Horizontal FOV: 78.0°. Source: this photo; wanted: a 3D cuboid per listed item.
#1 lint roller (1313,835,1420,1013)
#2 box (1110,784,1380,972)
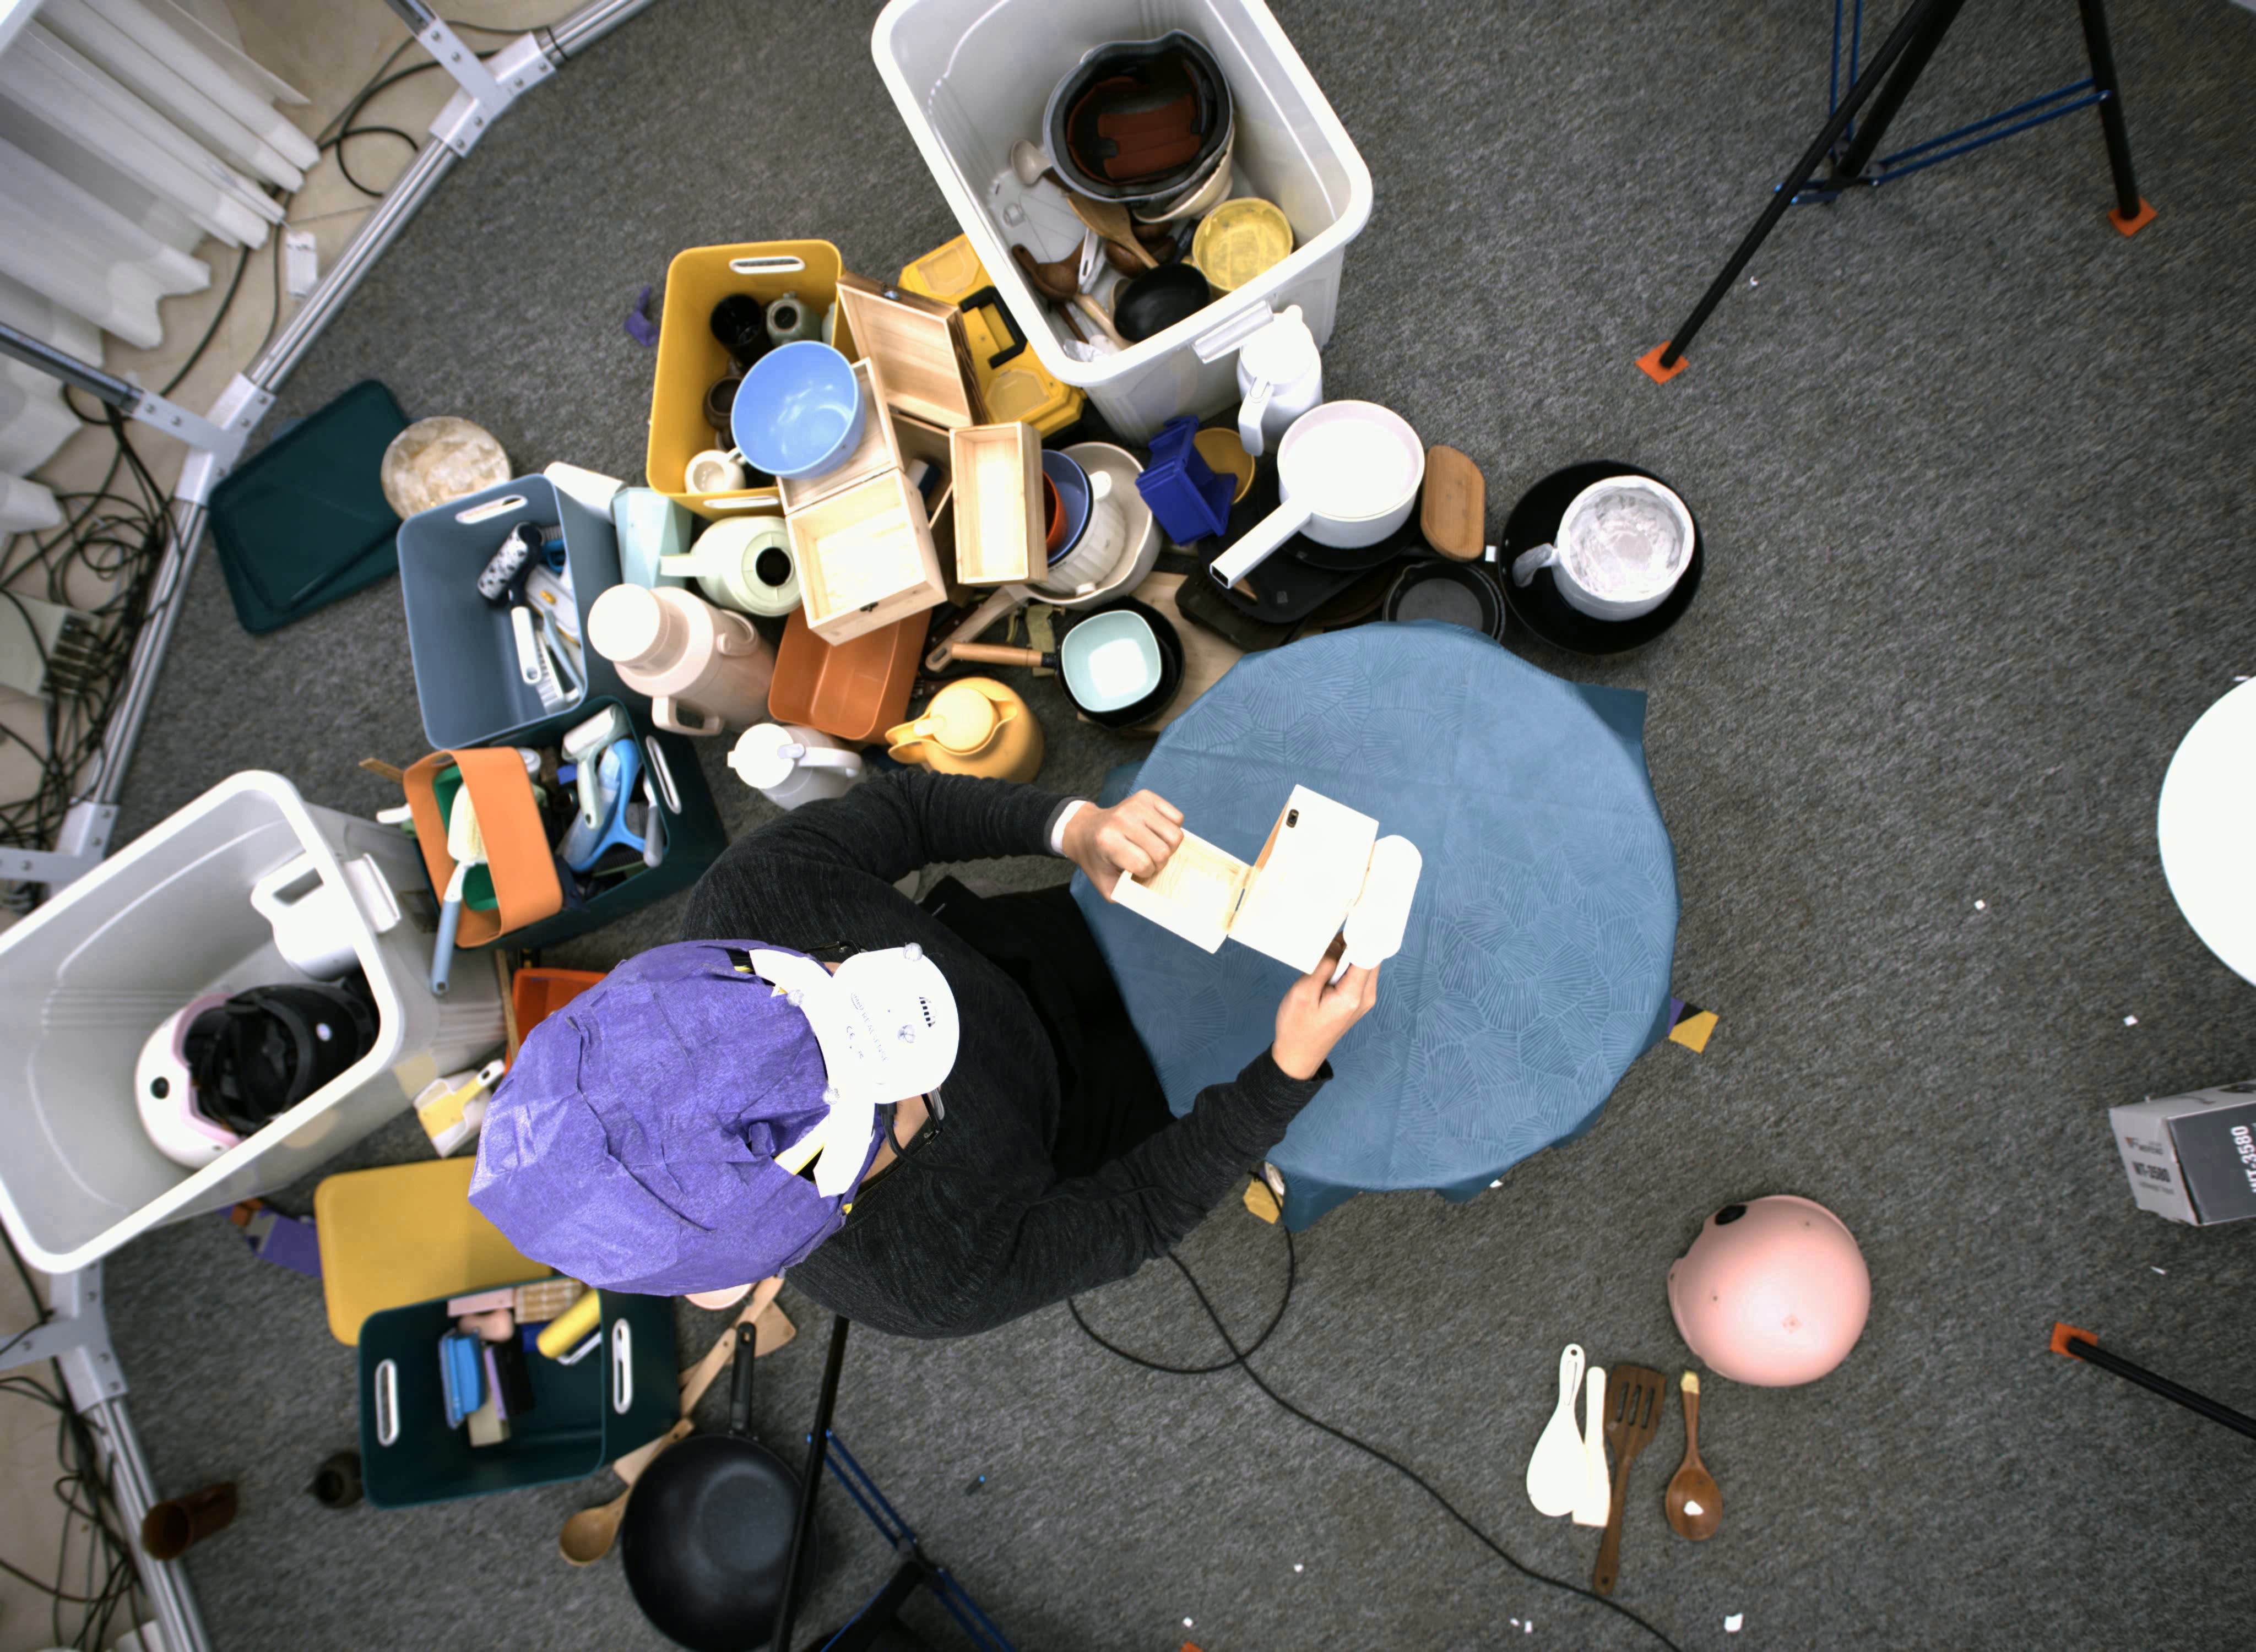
[{"bbox_3d":[0.198,0.105,1.174,0.050,0.129,0.185,17,133,8],"label":"lint roller"},{"bbox_3d":[0.098,0.027,1.170,0.184,0.100,0.137,25,130,2],"label":"box"}]
